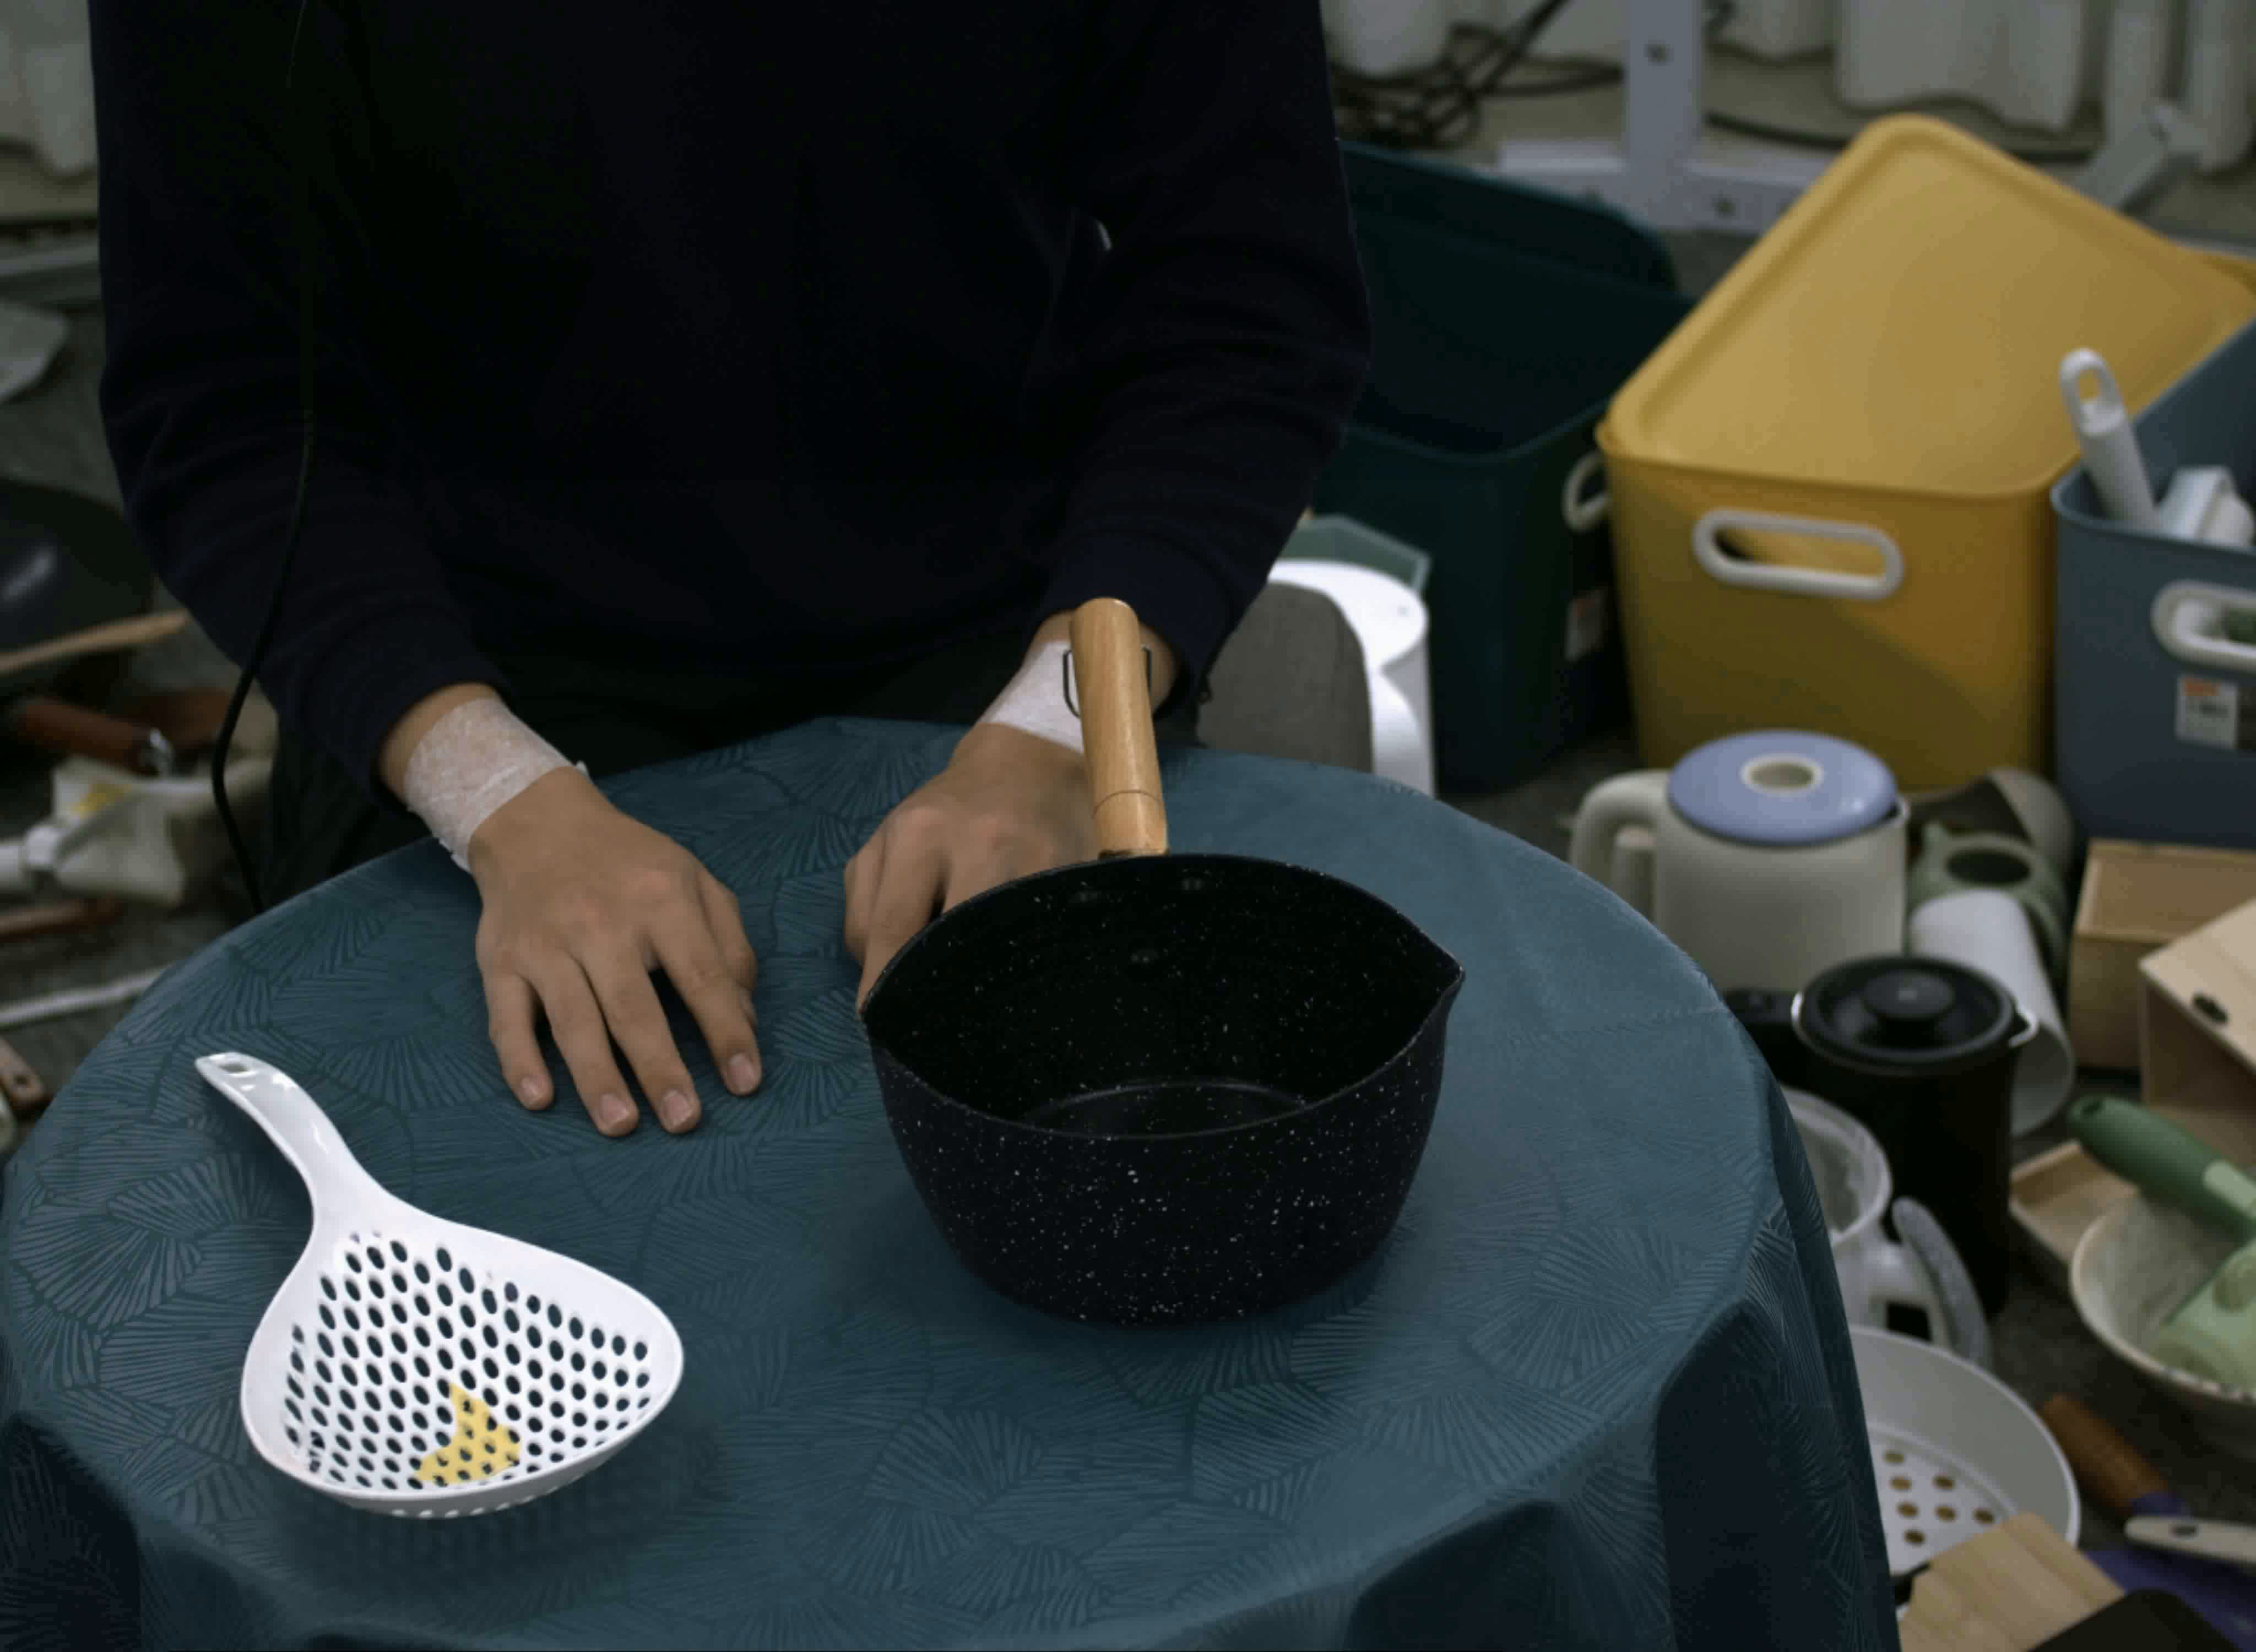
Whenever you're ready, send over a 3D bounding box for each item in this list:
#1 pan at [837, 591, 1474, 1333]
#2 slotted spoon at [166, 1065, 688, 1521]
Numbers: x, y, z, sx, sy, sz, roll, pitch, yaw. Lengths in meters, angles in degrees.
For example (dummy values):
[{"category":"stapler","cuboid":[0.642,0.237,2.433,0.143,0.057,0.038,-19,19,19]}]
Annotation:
[{"category":"pan","cuboid":[0.004,0.042,1.899,0.207,0.107,0.348,-6,29,-3]},{"category":"slotted spoon","cuboid":[-0.249,0.137,1.811,0.137,0.050,0.350,-16,32,-20]}]
